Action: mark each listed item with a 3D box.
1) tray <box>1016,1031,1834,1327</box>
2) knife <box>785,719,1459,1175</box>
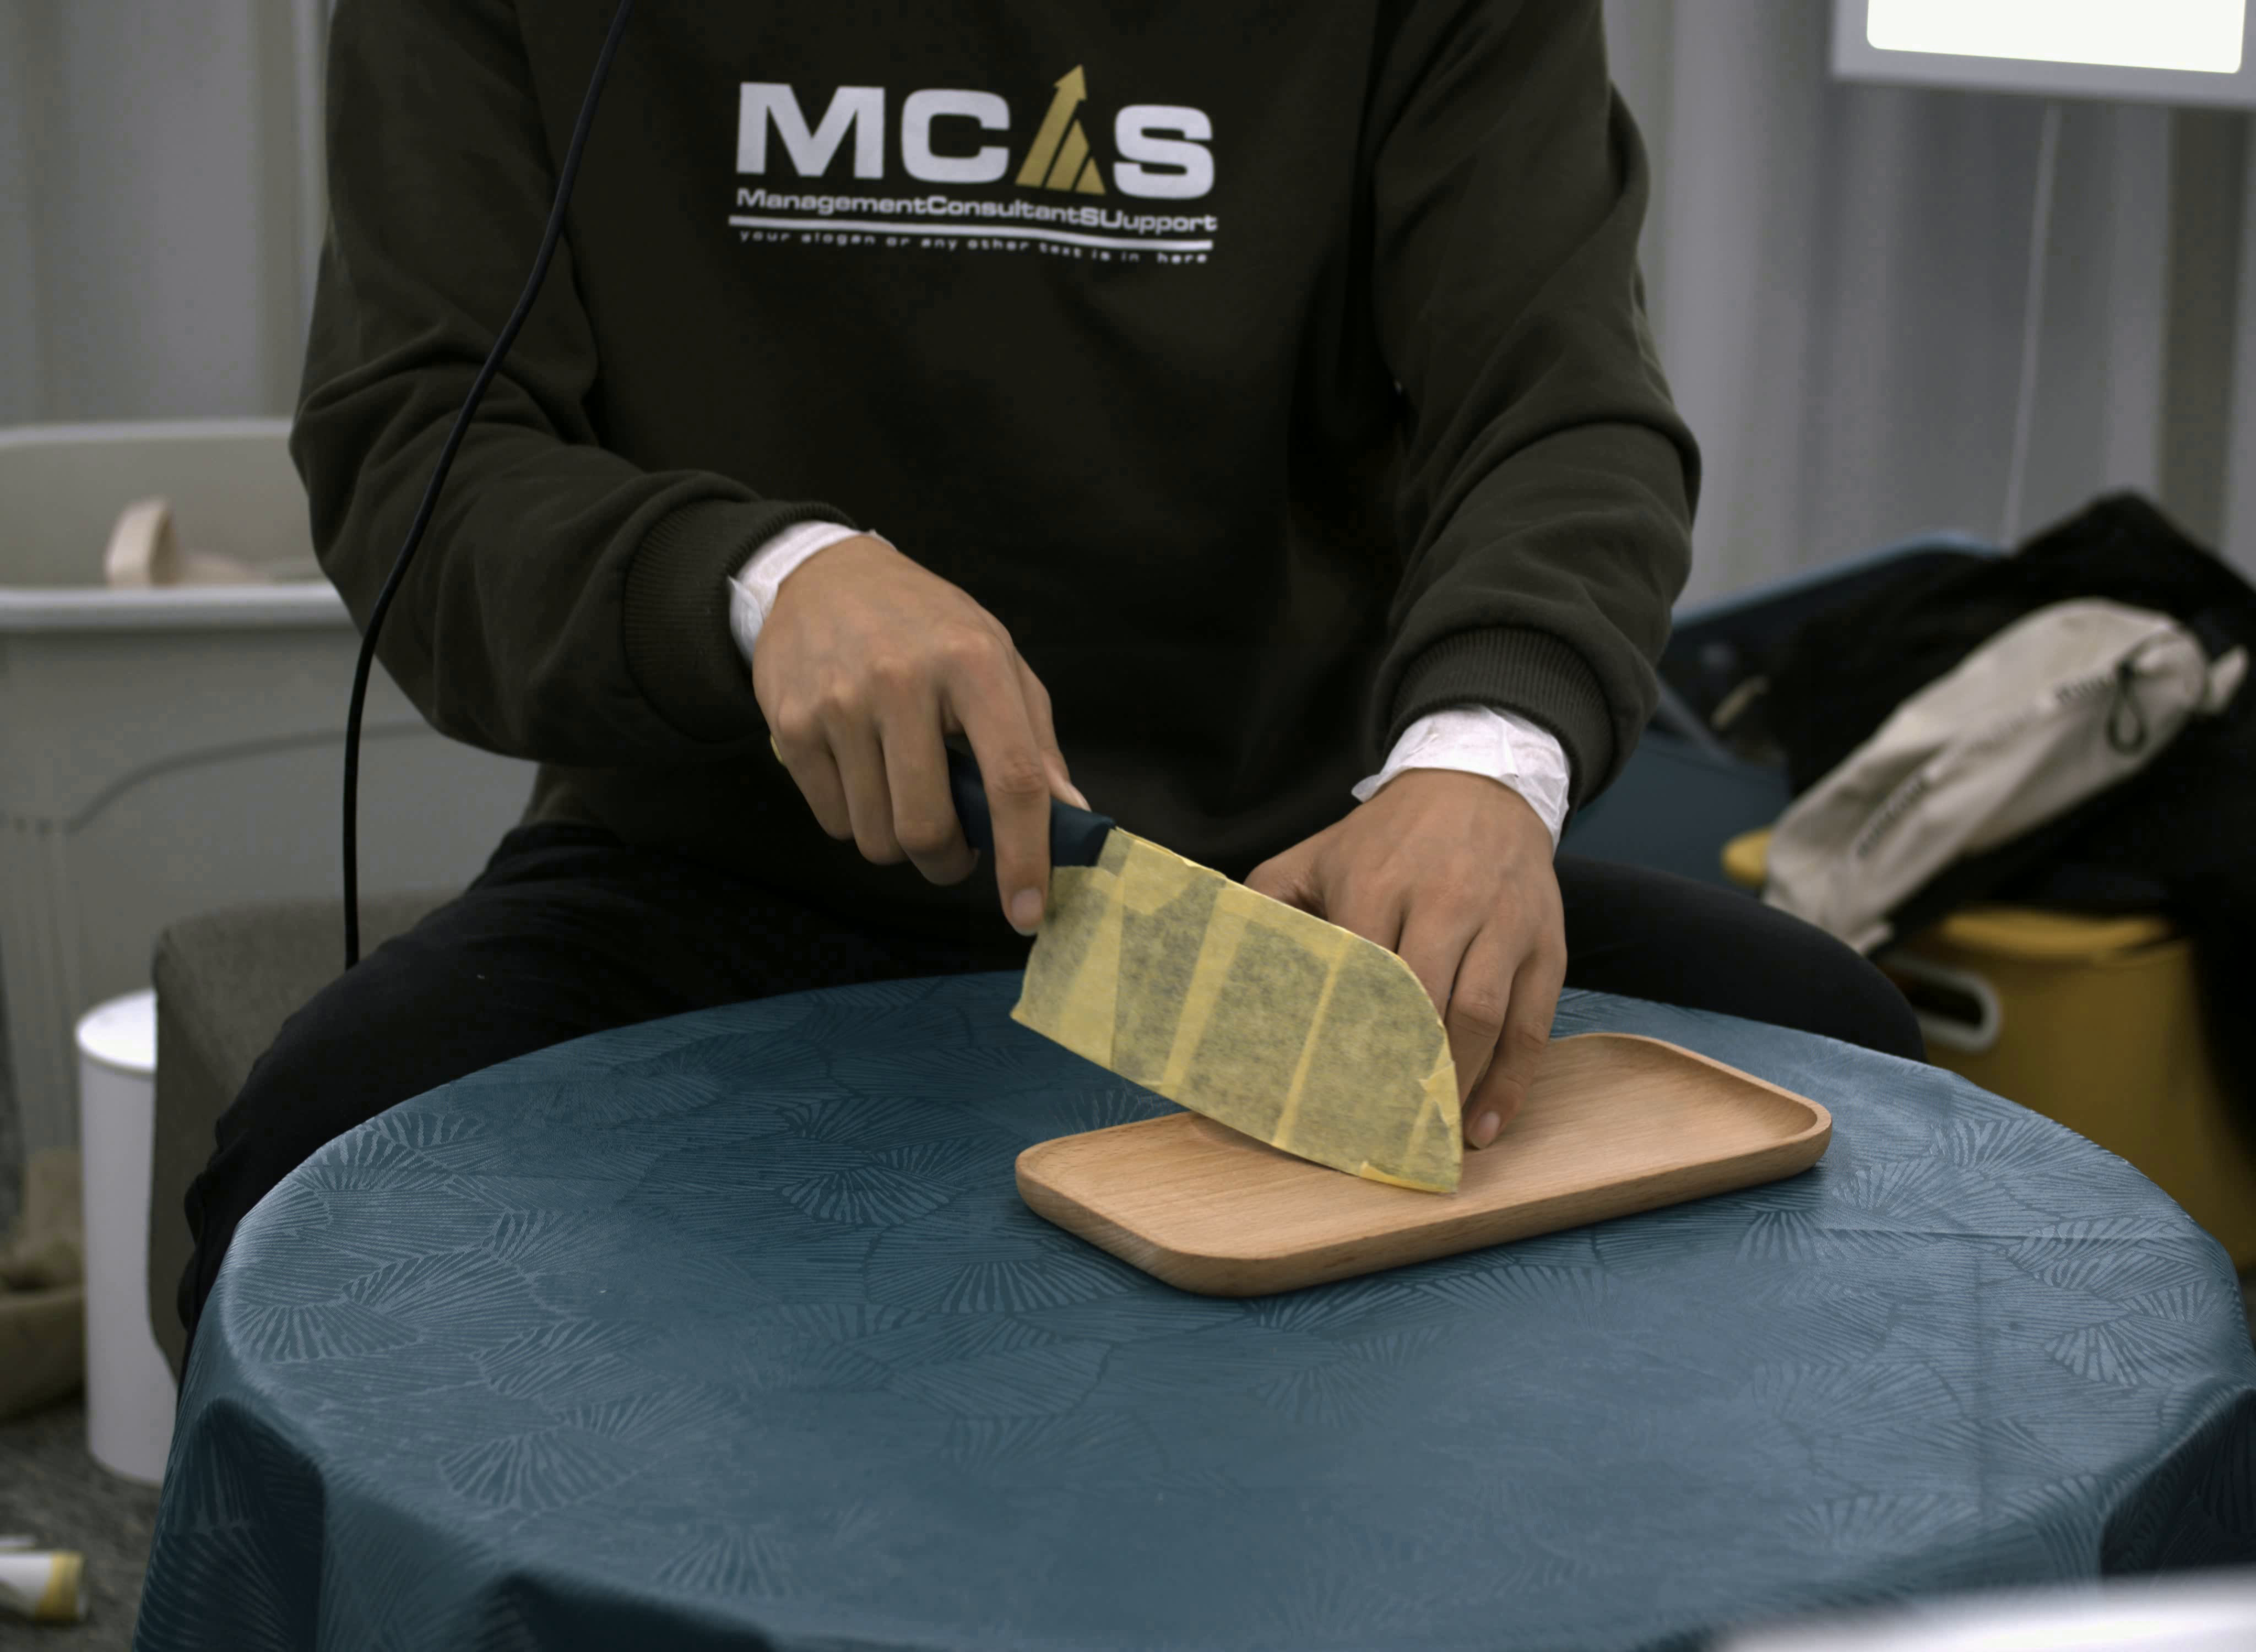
[{"bbox_3d":[0.094,0.108,1.631,0.252,0.023,0.129,-13,17,-31],"label":"tray"},{"bbox_3d":[-0.006,0.035,1.670,0.285,0.081,0.027,28,11,33],"label":"knife"}]
